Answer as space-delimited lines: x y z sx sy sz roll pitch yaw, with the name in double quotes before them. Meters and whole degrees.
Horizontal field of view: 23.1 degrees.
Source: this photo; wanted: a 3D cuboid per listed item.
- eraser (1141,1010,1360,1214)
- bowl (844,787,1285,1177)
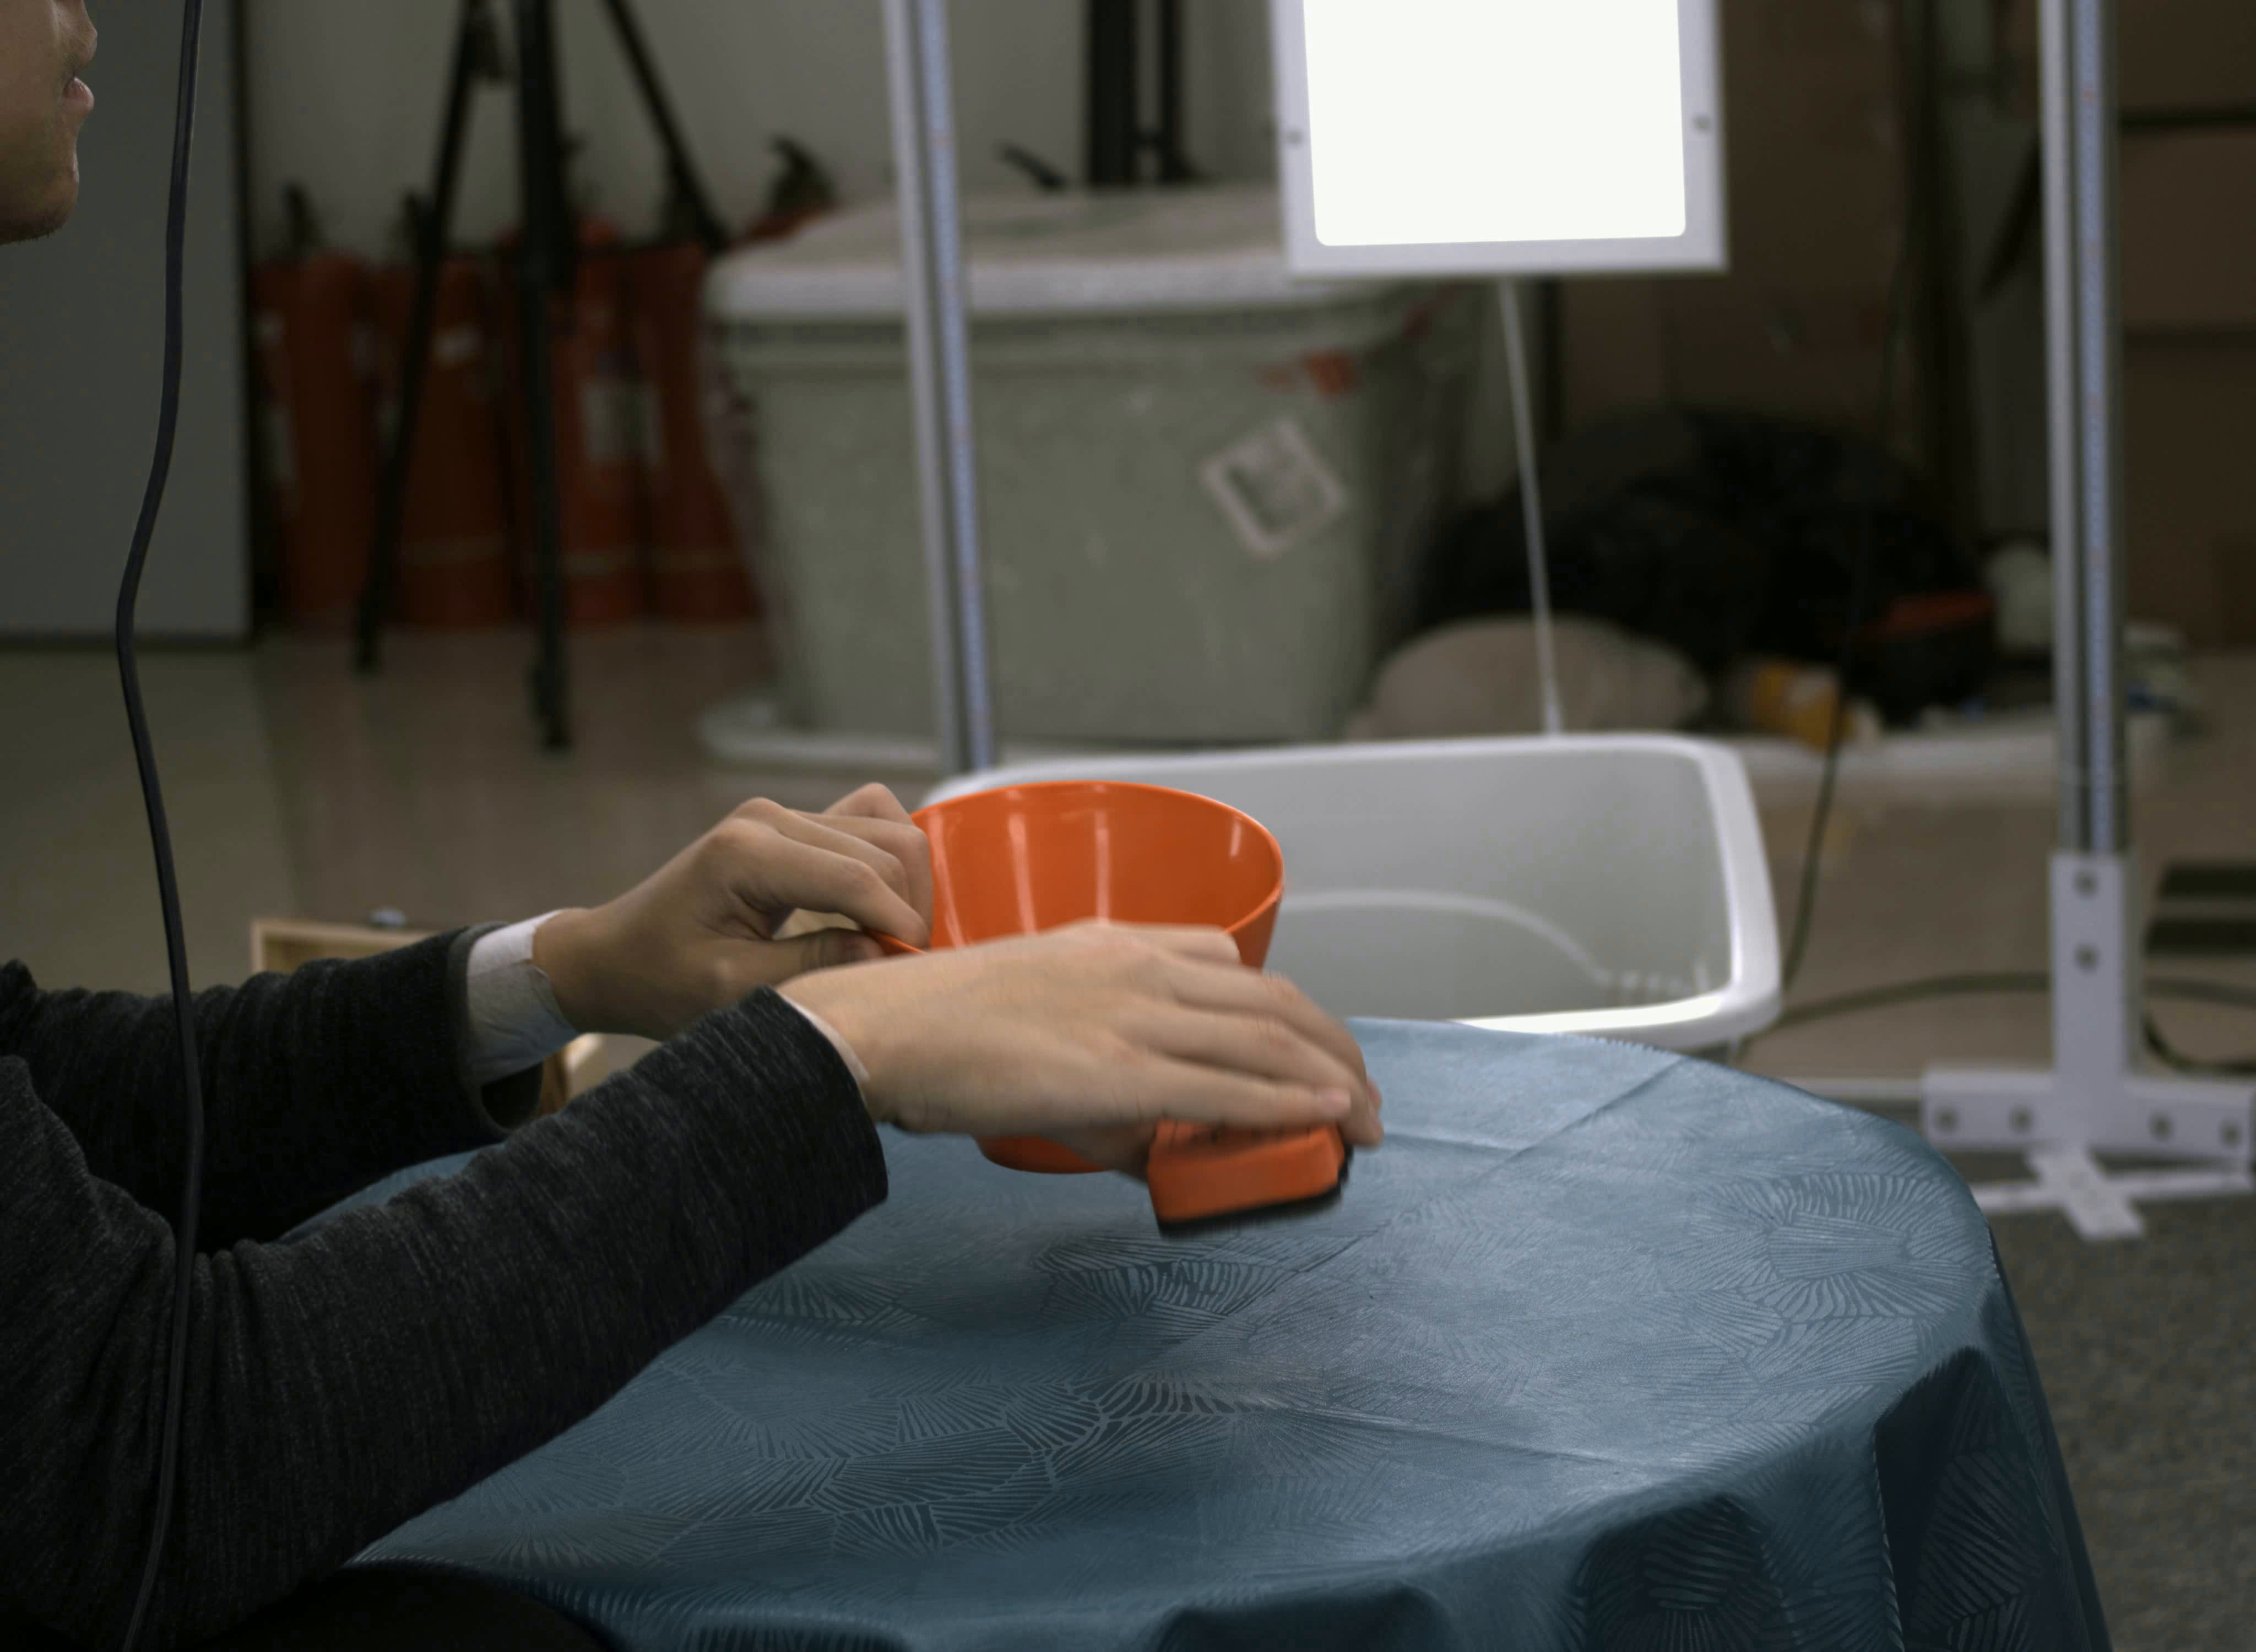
"eraser" 0.039 0.086 1.668 0.059 0.023 0.107 -11 14 10
"bowl" -0.019 0.055 1.835 0.147 0.105 0.148 -3 14 -1
